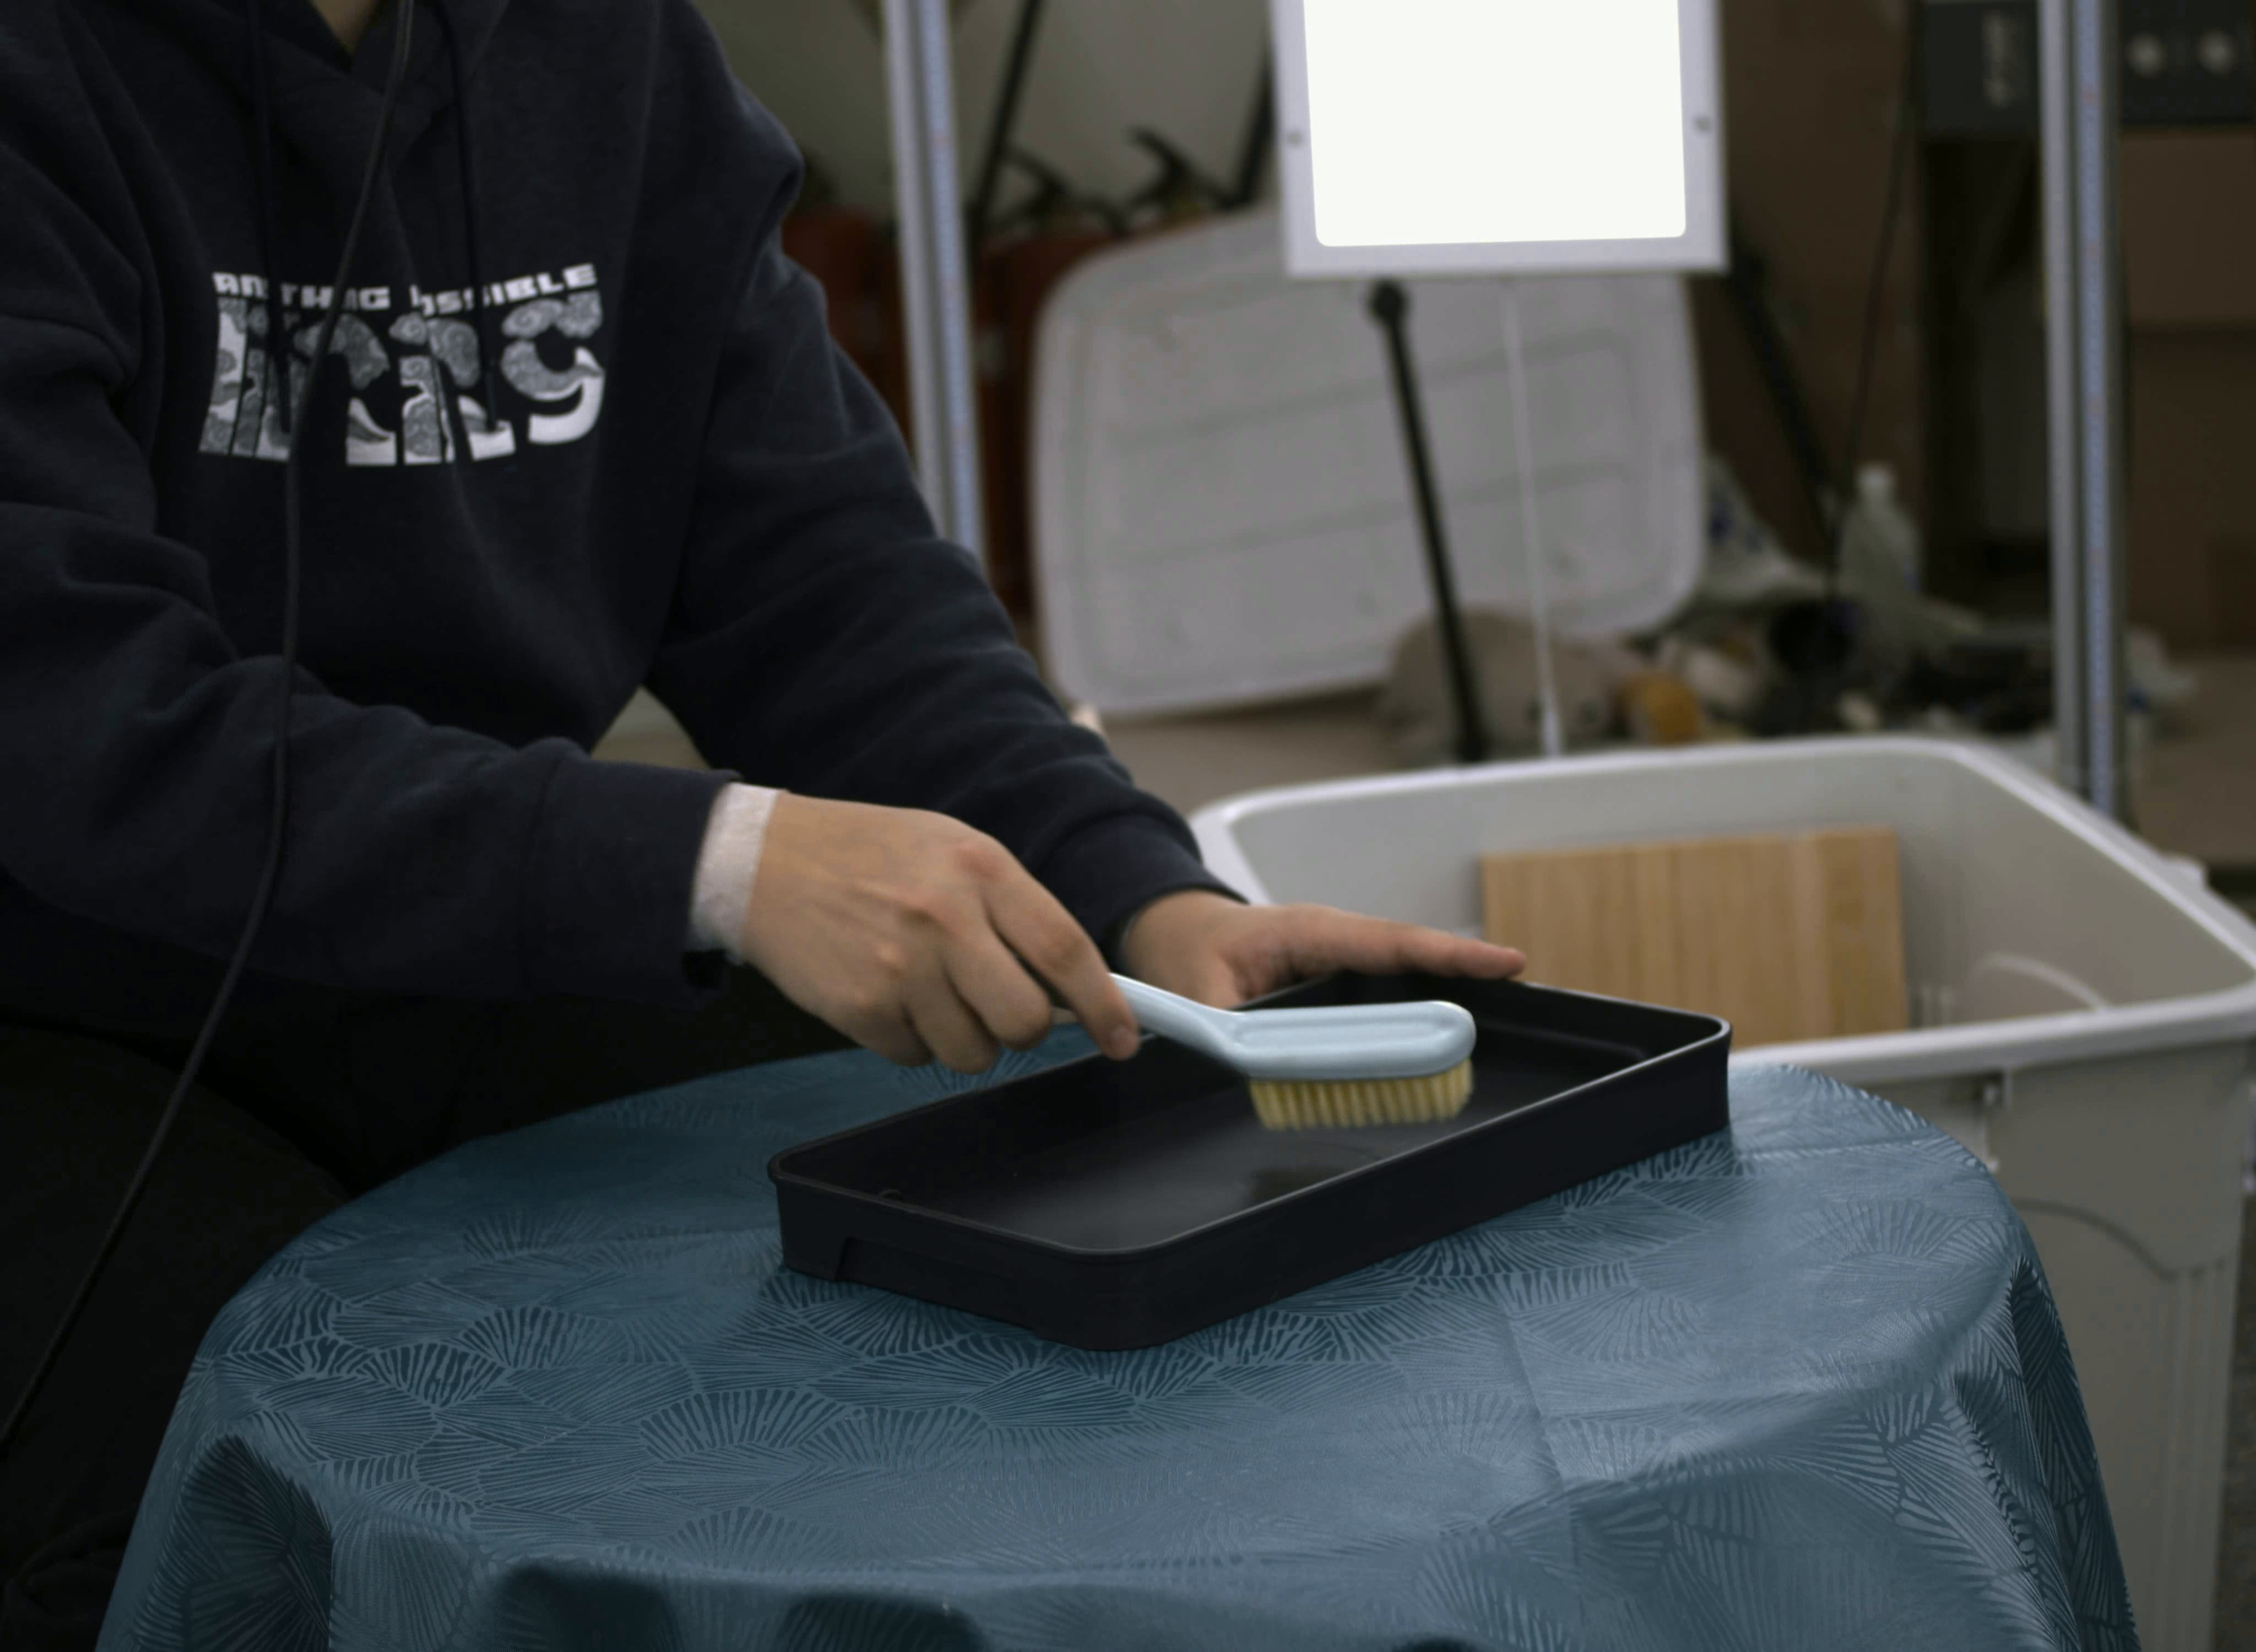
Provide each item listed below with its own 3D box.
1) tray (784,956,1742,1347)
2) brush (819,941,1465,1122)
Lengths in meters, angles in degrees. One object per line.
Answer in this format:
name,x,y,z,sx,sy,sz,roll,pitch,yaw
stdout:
tray,0.051,0.106,1.889,0.310,0.037,0.188,-17,18,-42
brush,0.004,0.071,1.912,0.230,0.050,0.037,6,36,12
